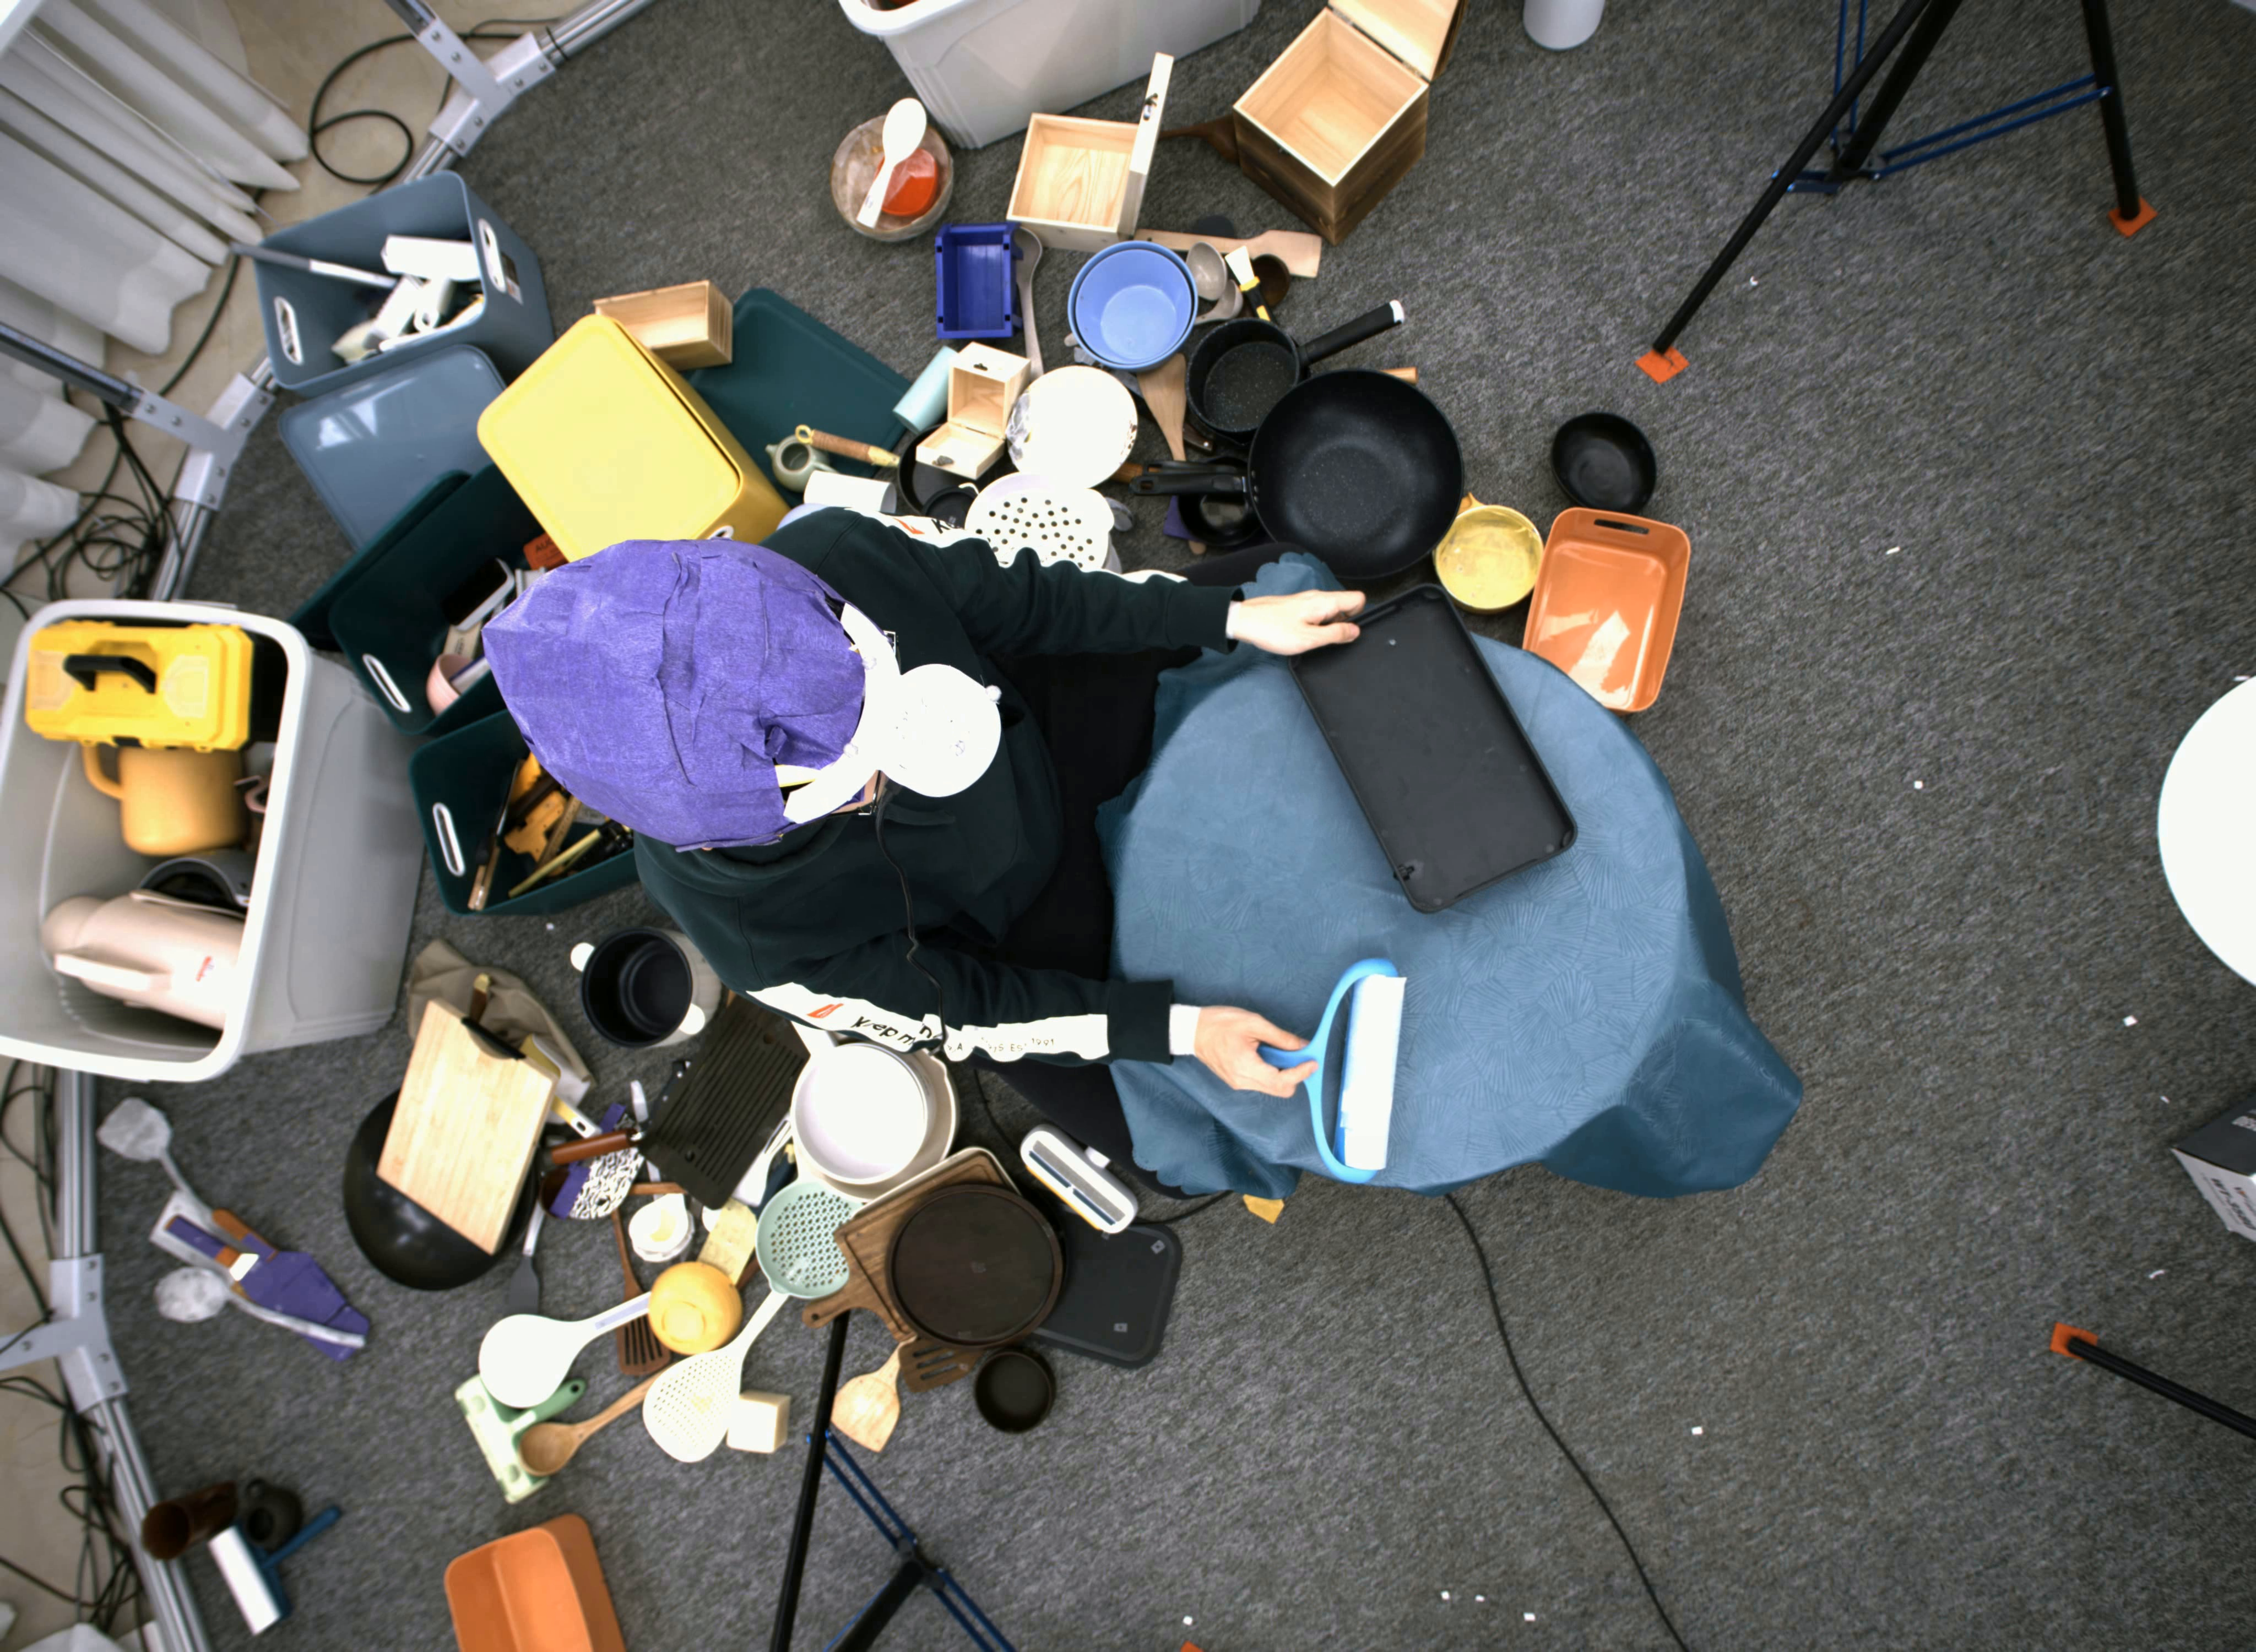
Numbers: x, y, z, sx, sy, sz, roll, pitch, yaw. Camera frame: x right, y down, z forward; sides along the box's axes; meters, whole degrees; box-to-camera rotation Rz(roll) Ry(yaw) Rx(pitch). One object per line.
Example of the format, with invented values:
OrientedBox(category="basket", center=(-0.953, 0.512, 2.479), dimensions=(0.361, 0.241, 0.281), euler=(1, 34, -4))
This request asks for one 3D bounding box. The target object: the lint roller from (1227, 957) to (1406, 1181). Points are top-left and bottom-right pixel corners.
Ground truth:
OrientedBox(category="lint roller", center=(0.189, 0.243, 1.424), dimensions=(0.181, 0.068, 0.228), euler=(3, 90, 10))

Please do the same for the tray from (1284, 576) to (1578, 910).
OrientedBox(category="tray", center=(0.308, -0.087, 1.412), dimensions=(0.185, 0.037, 0.315), euler=(-27, 80, 5))
